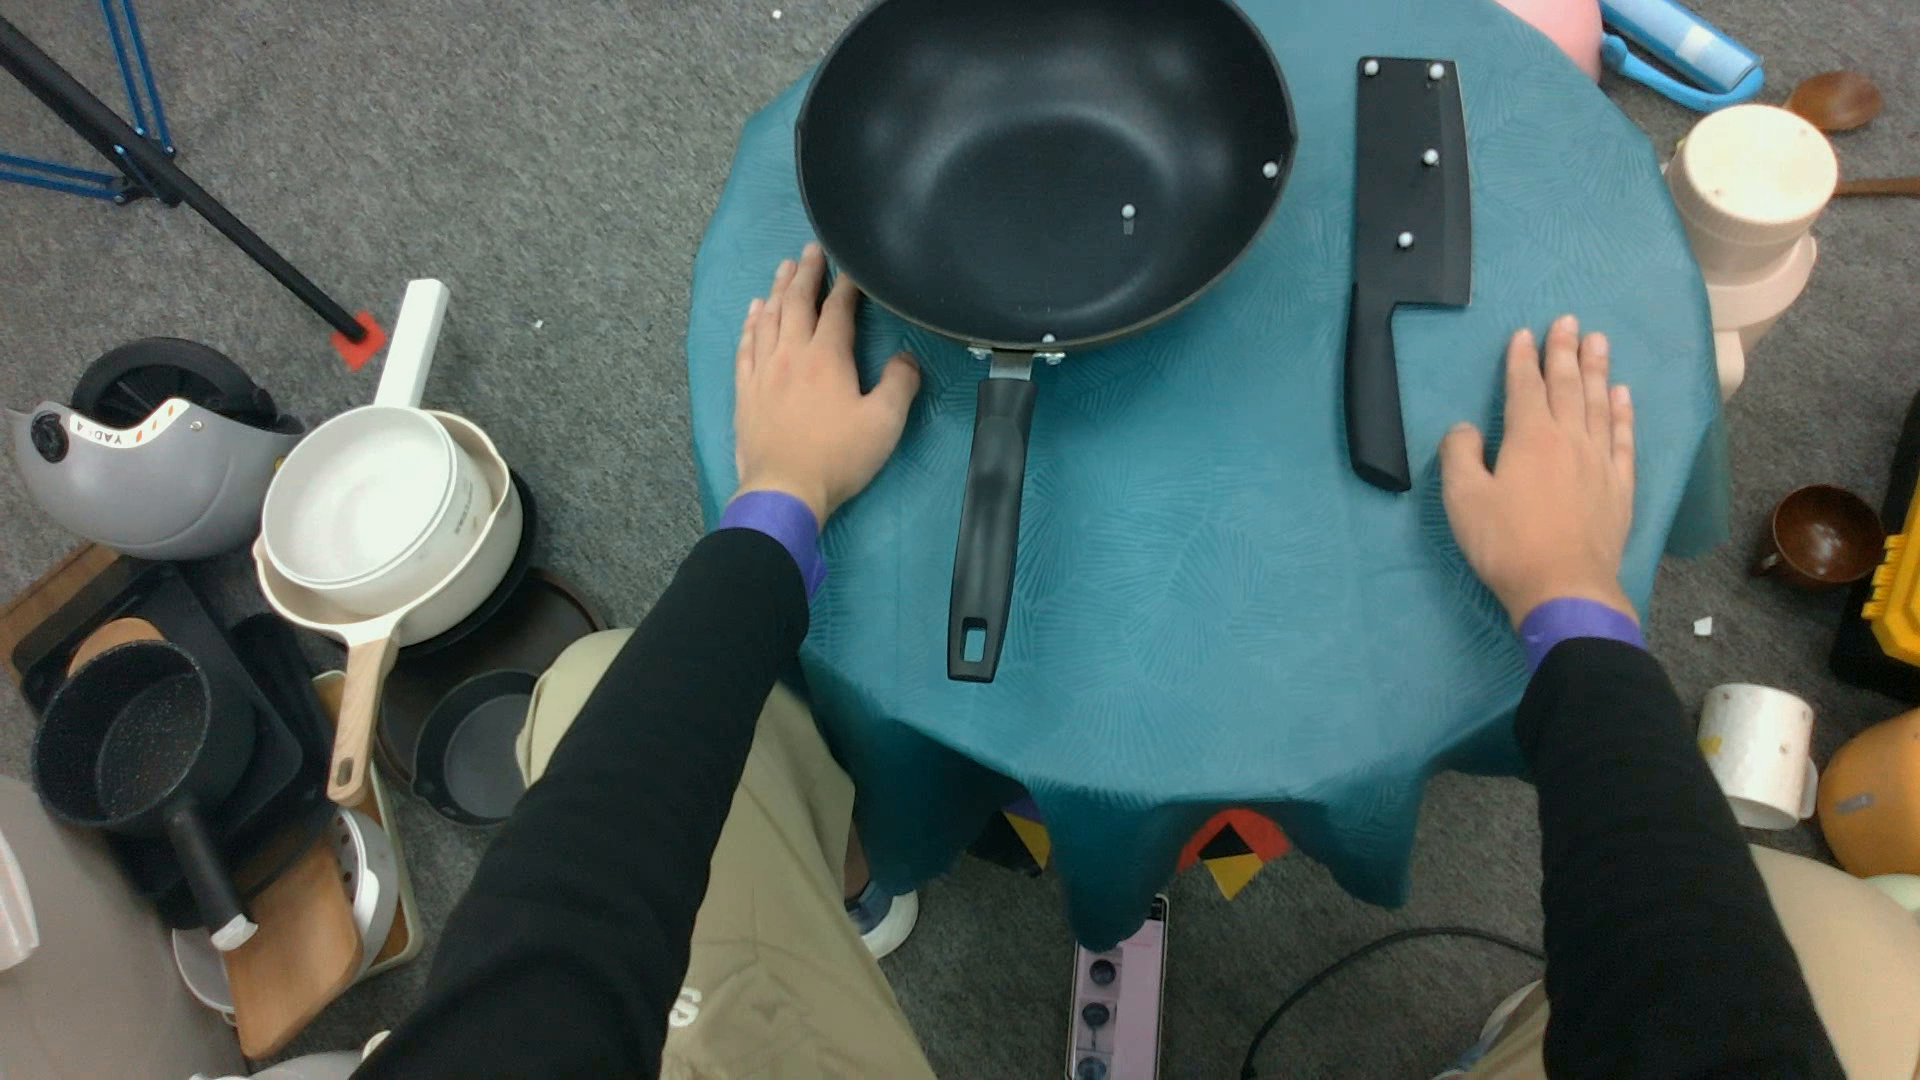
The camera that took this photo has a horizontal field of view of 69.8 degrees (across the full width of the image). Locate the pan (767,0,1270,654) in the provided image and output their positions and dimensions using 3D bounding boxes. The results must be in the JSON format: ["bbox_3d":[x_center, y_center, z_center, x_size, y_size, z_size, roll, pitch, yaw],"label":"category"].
[{"bbox_3d":[0.023,-0.151,0.785,0.288,0.086,0.464,5,71,7],"label":"pan"}]

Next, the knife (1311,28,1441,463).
[{"bbox_3d":[0.244,-0.184,0.814,0.081,0.021,0.303,8,69,7],"label":"knife"}]
